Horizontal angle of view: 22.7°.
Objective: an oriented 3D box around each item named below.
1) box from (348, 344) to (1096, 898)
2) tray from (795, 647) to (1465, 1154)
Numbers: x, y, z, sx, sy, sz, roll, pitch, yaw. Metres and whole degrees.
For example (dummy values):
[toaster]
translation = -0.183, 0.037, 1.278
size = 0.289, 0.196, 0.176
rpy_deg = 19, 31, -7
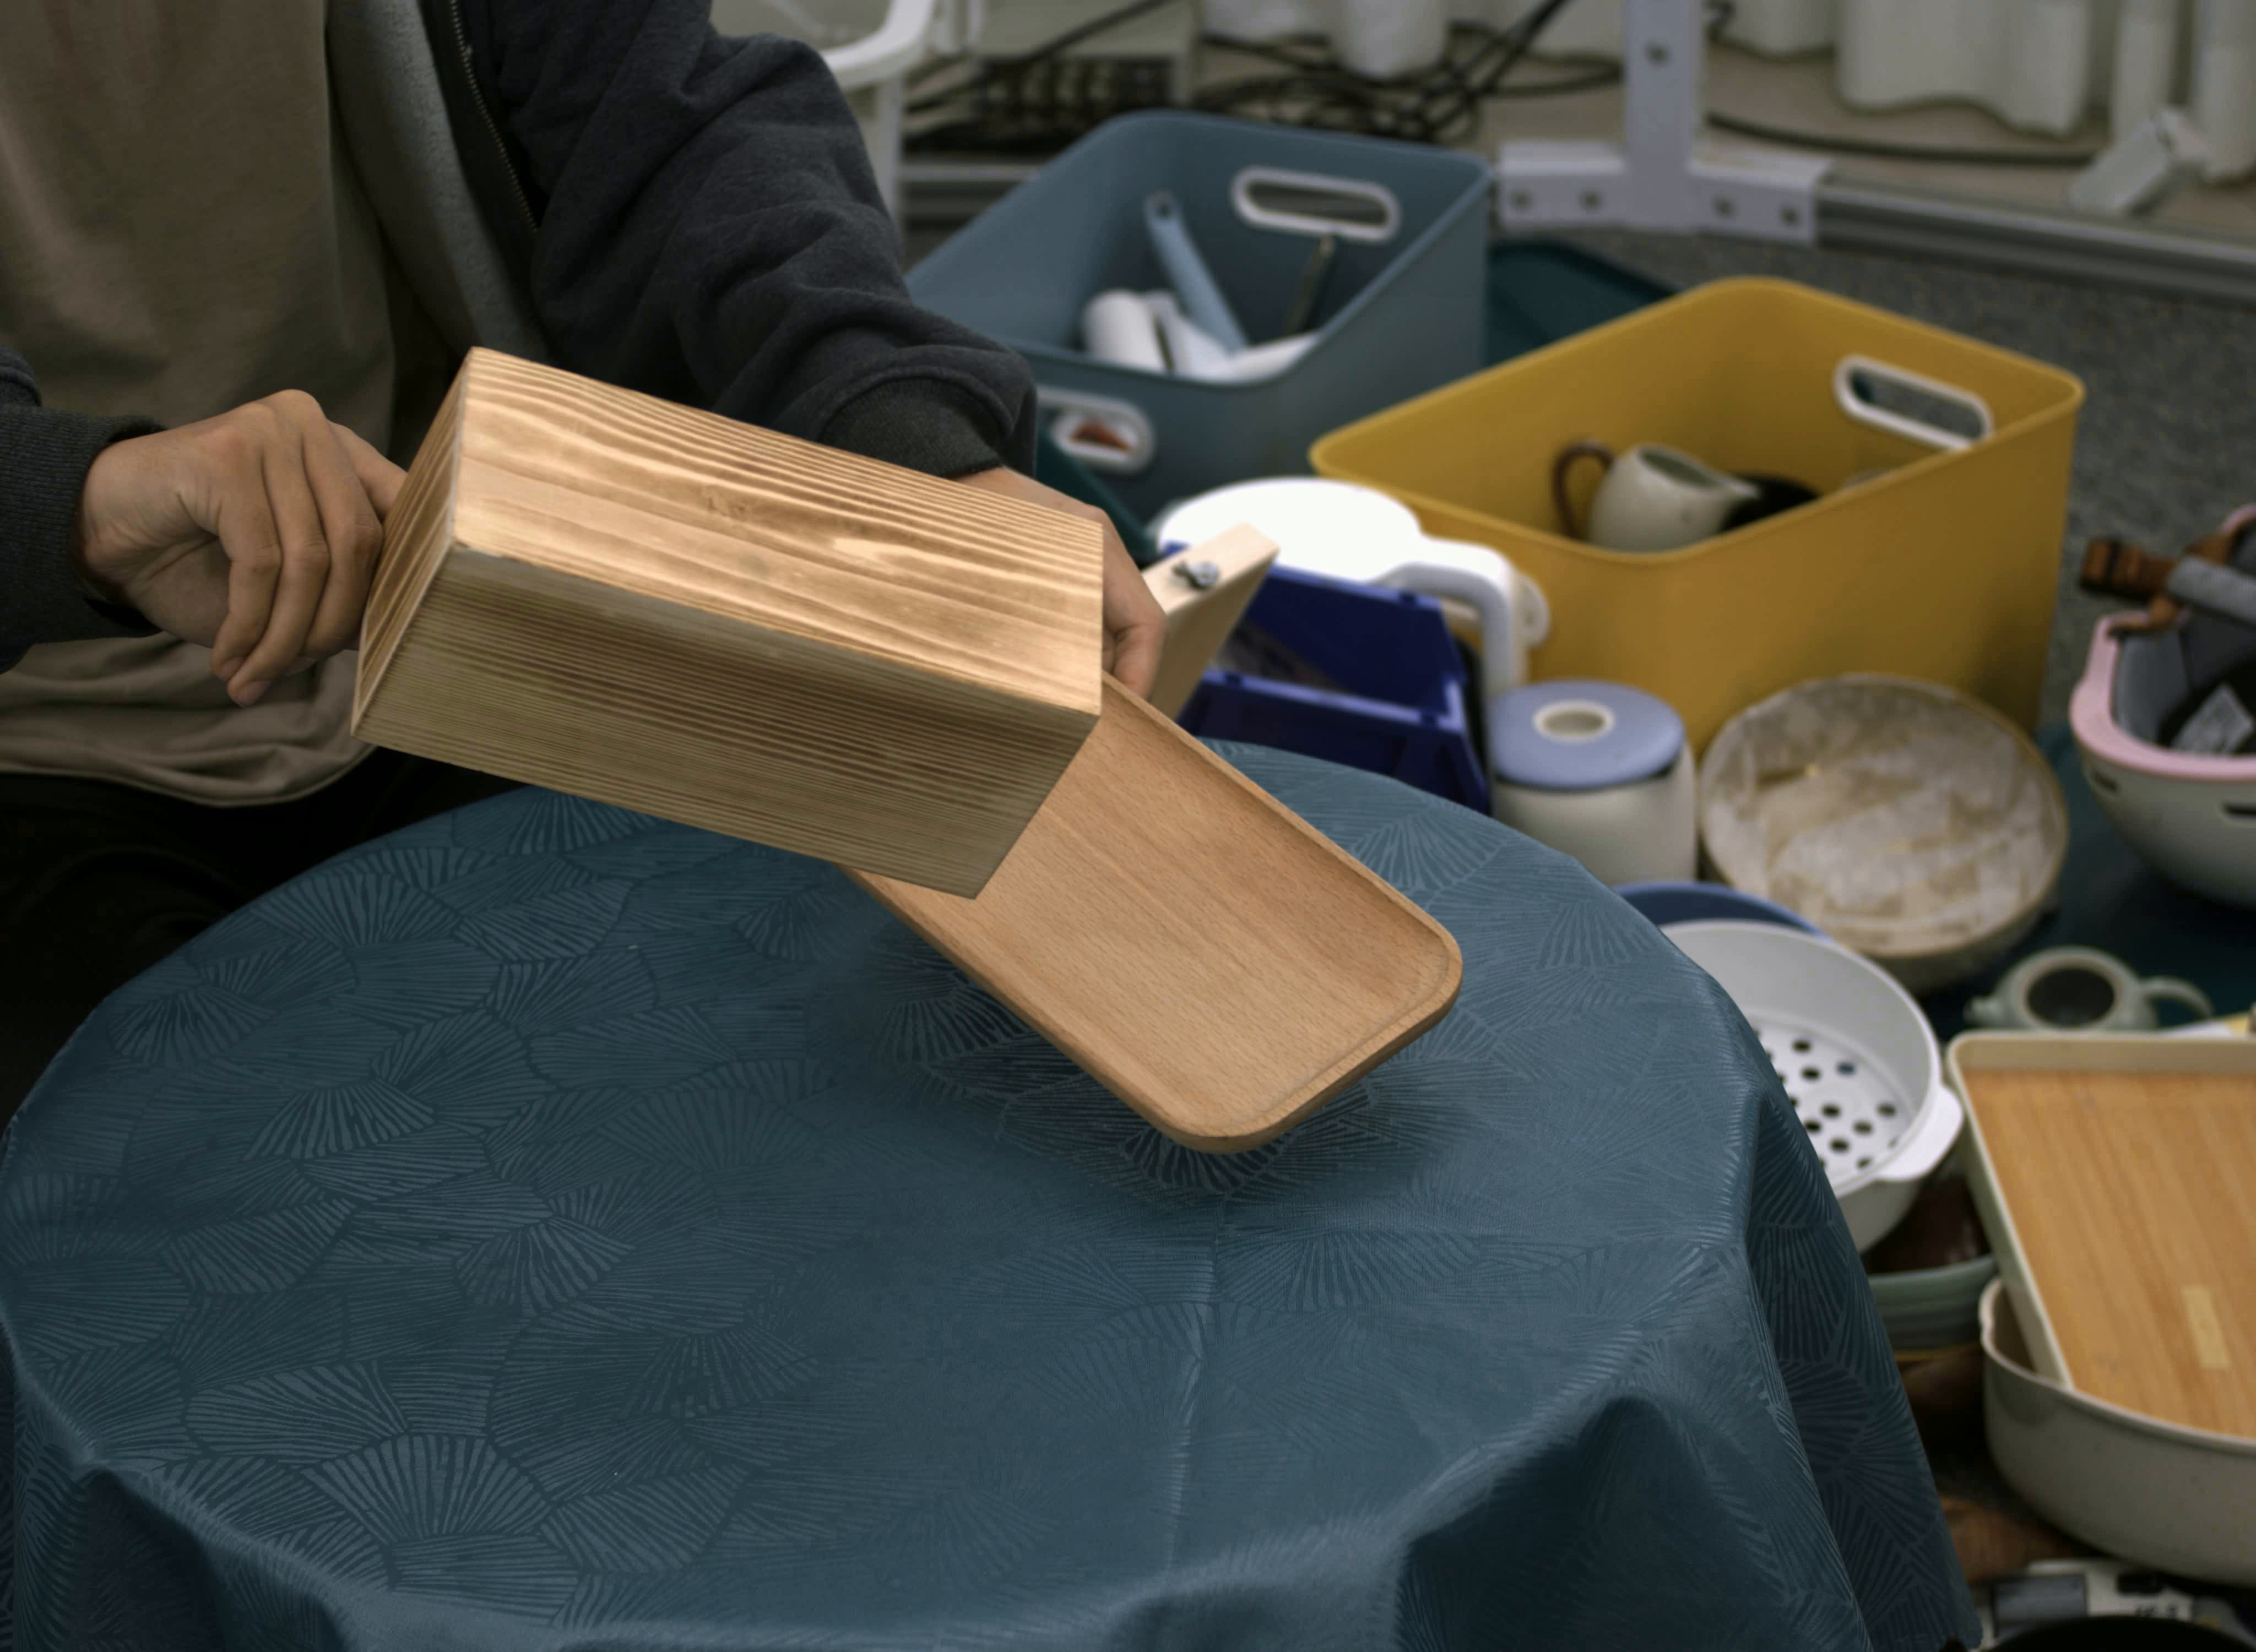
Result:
[box]
translation = -0.126, -0.062, 1.767
size = 0.211, 0.105, 0.082
rpy_deg = 15, 49, -18
[tray]
translation = -0.005, 0.020, 1.926
size = 0.132, 0.022, 0.252
rpy_deg = -30, 49, -28
